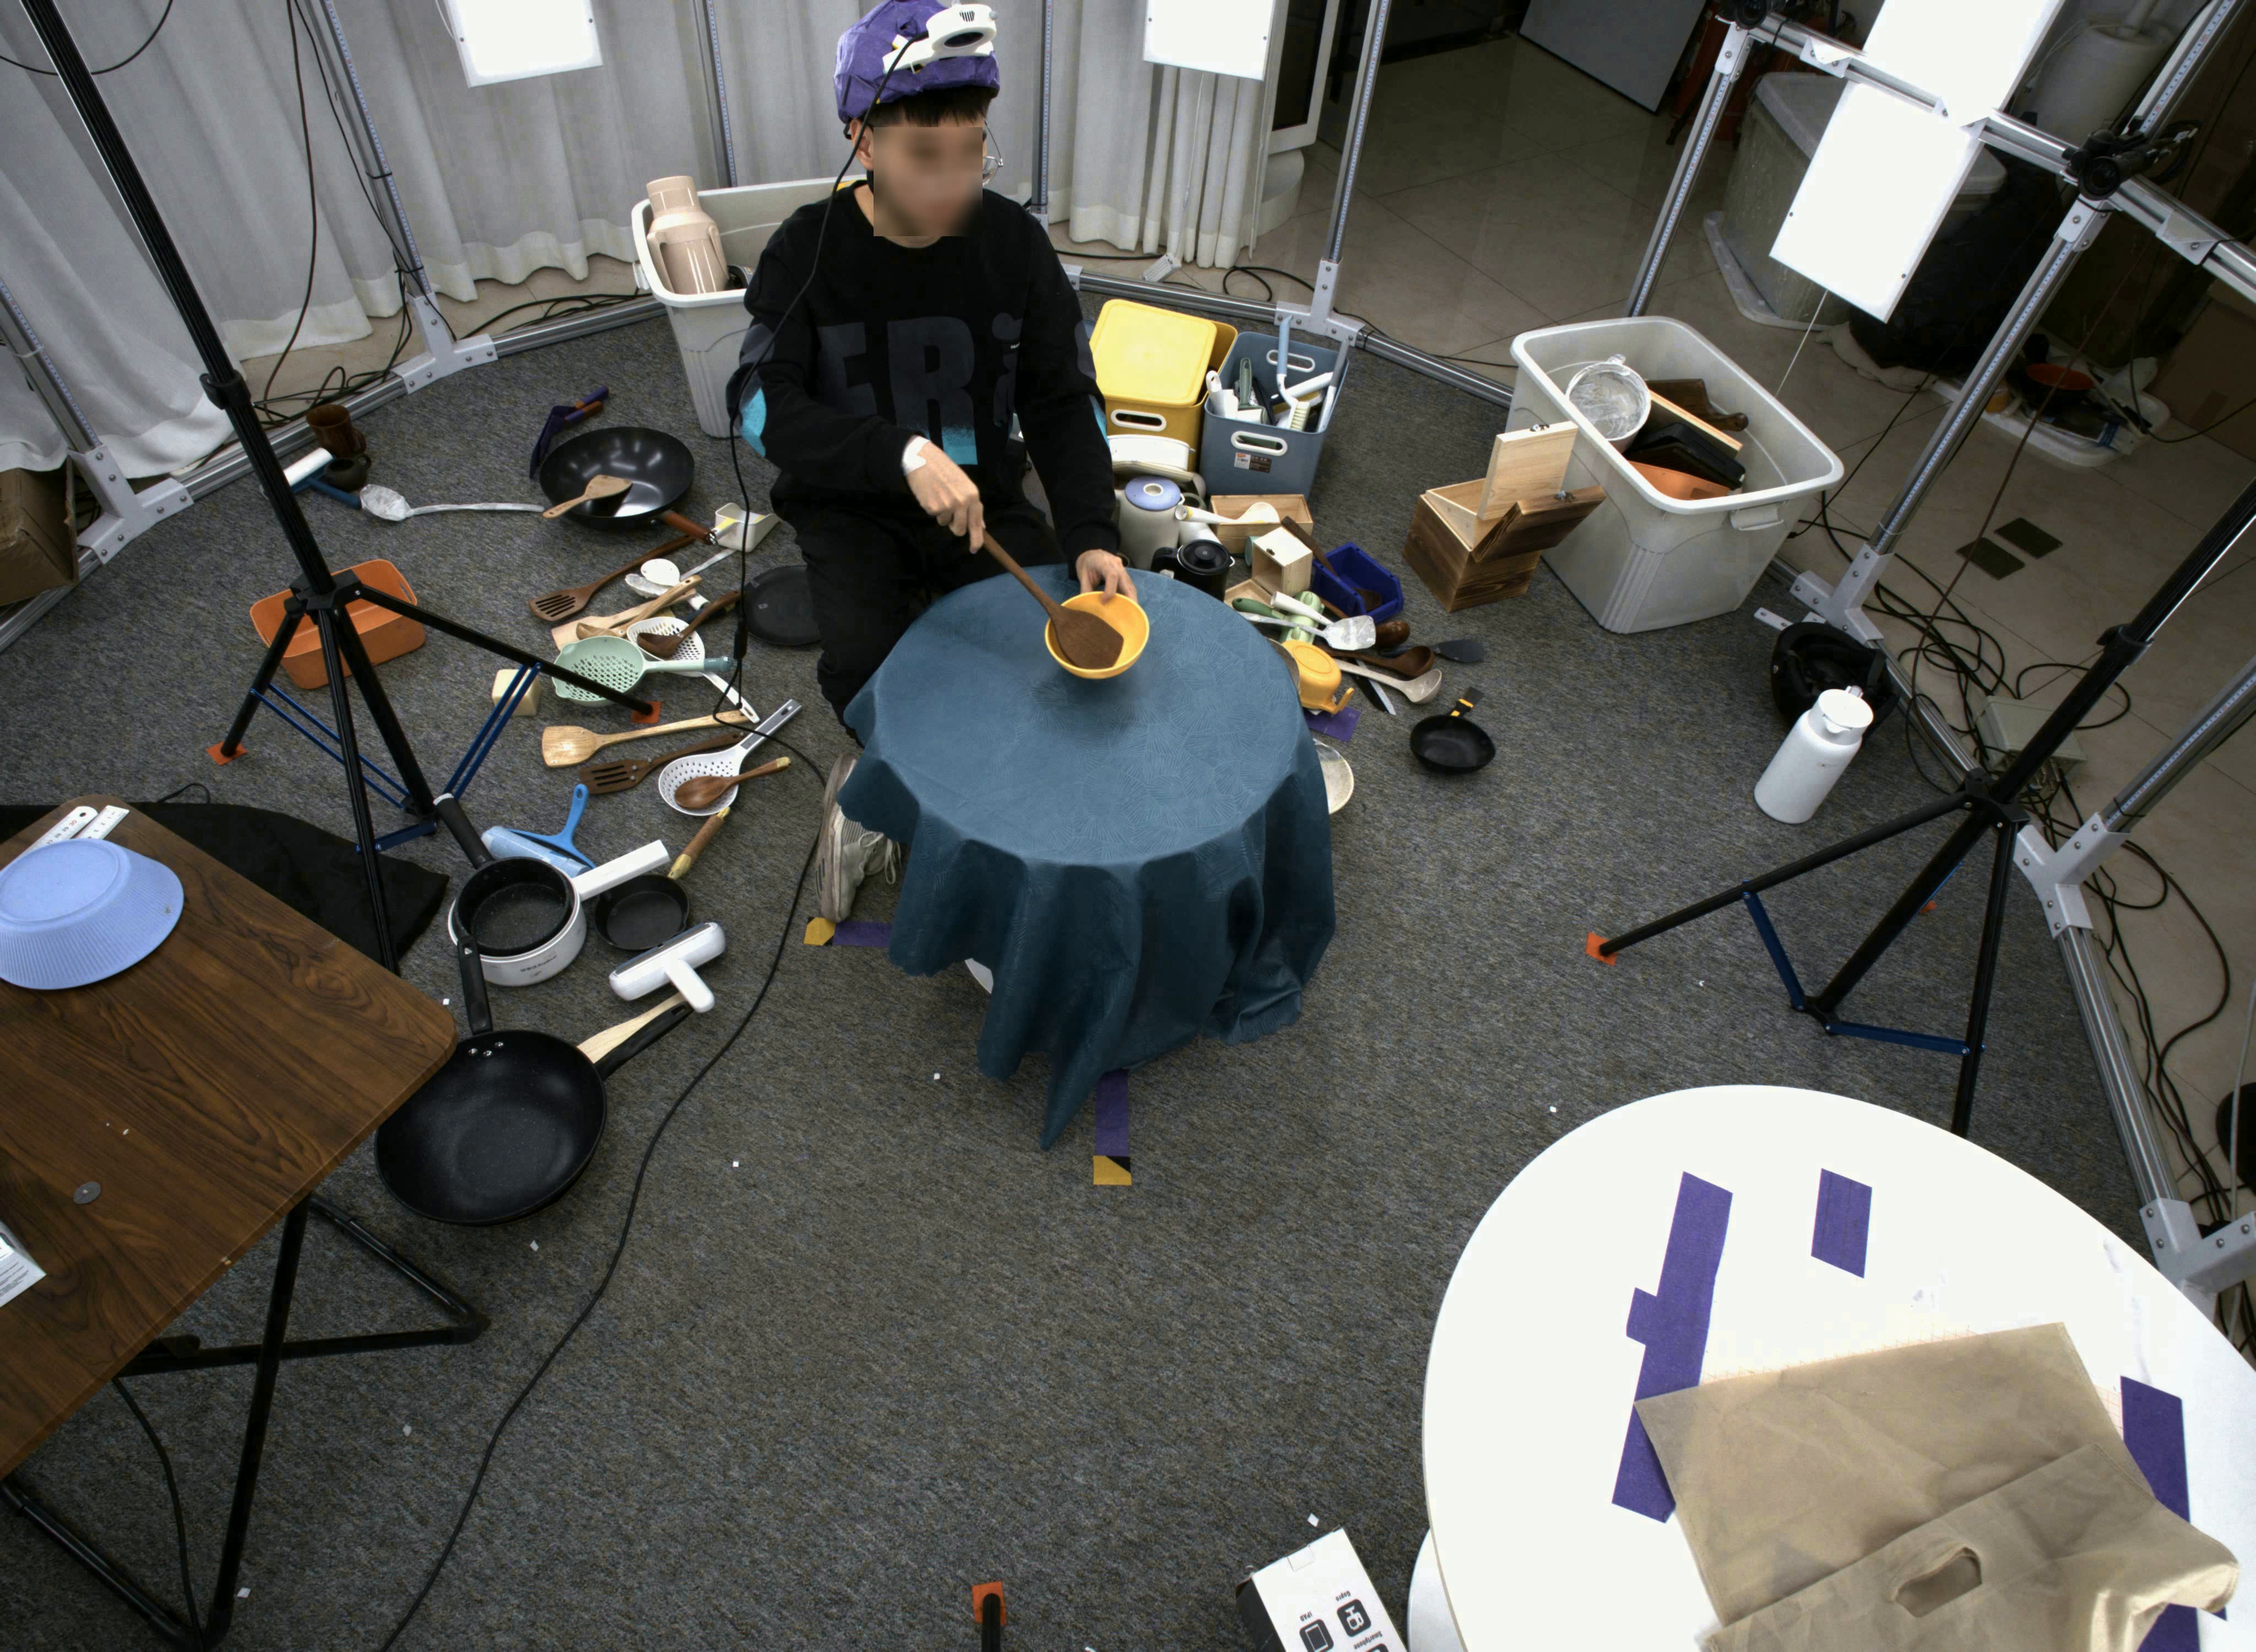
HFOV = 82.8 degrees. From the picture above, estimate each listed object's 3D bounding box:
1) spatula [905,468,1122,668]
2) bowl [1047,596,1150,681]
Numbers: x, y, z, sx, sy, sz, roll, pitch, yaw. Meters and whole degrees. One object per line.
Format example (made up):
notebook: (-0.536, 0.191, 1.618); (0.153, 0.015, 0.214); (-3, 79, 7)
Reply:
spatula: (-0.160, -0.356, 1.793); (0.383, 0.015, 0.098); (43, 54, -11)
bowl: (-0.040, -0.254, 1.824); (0.145, 0.058, 0.149); (-2, 53, 2)
